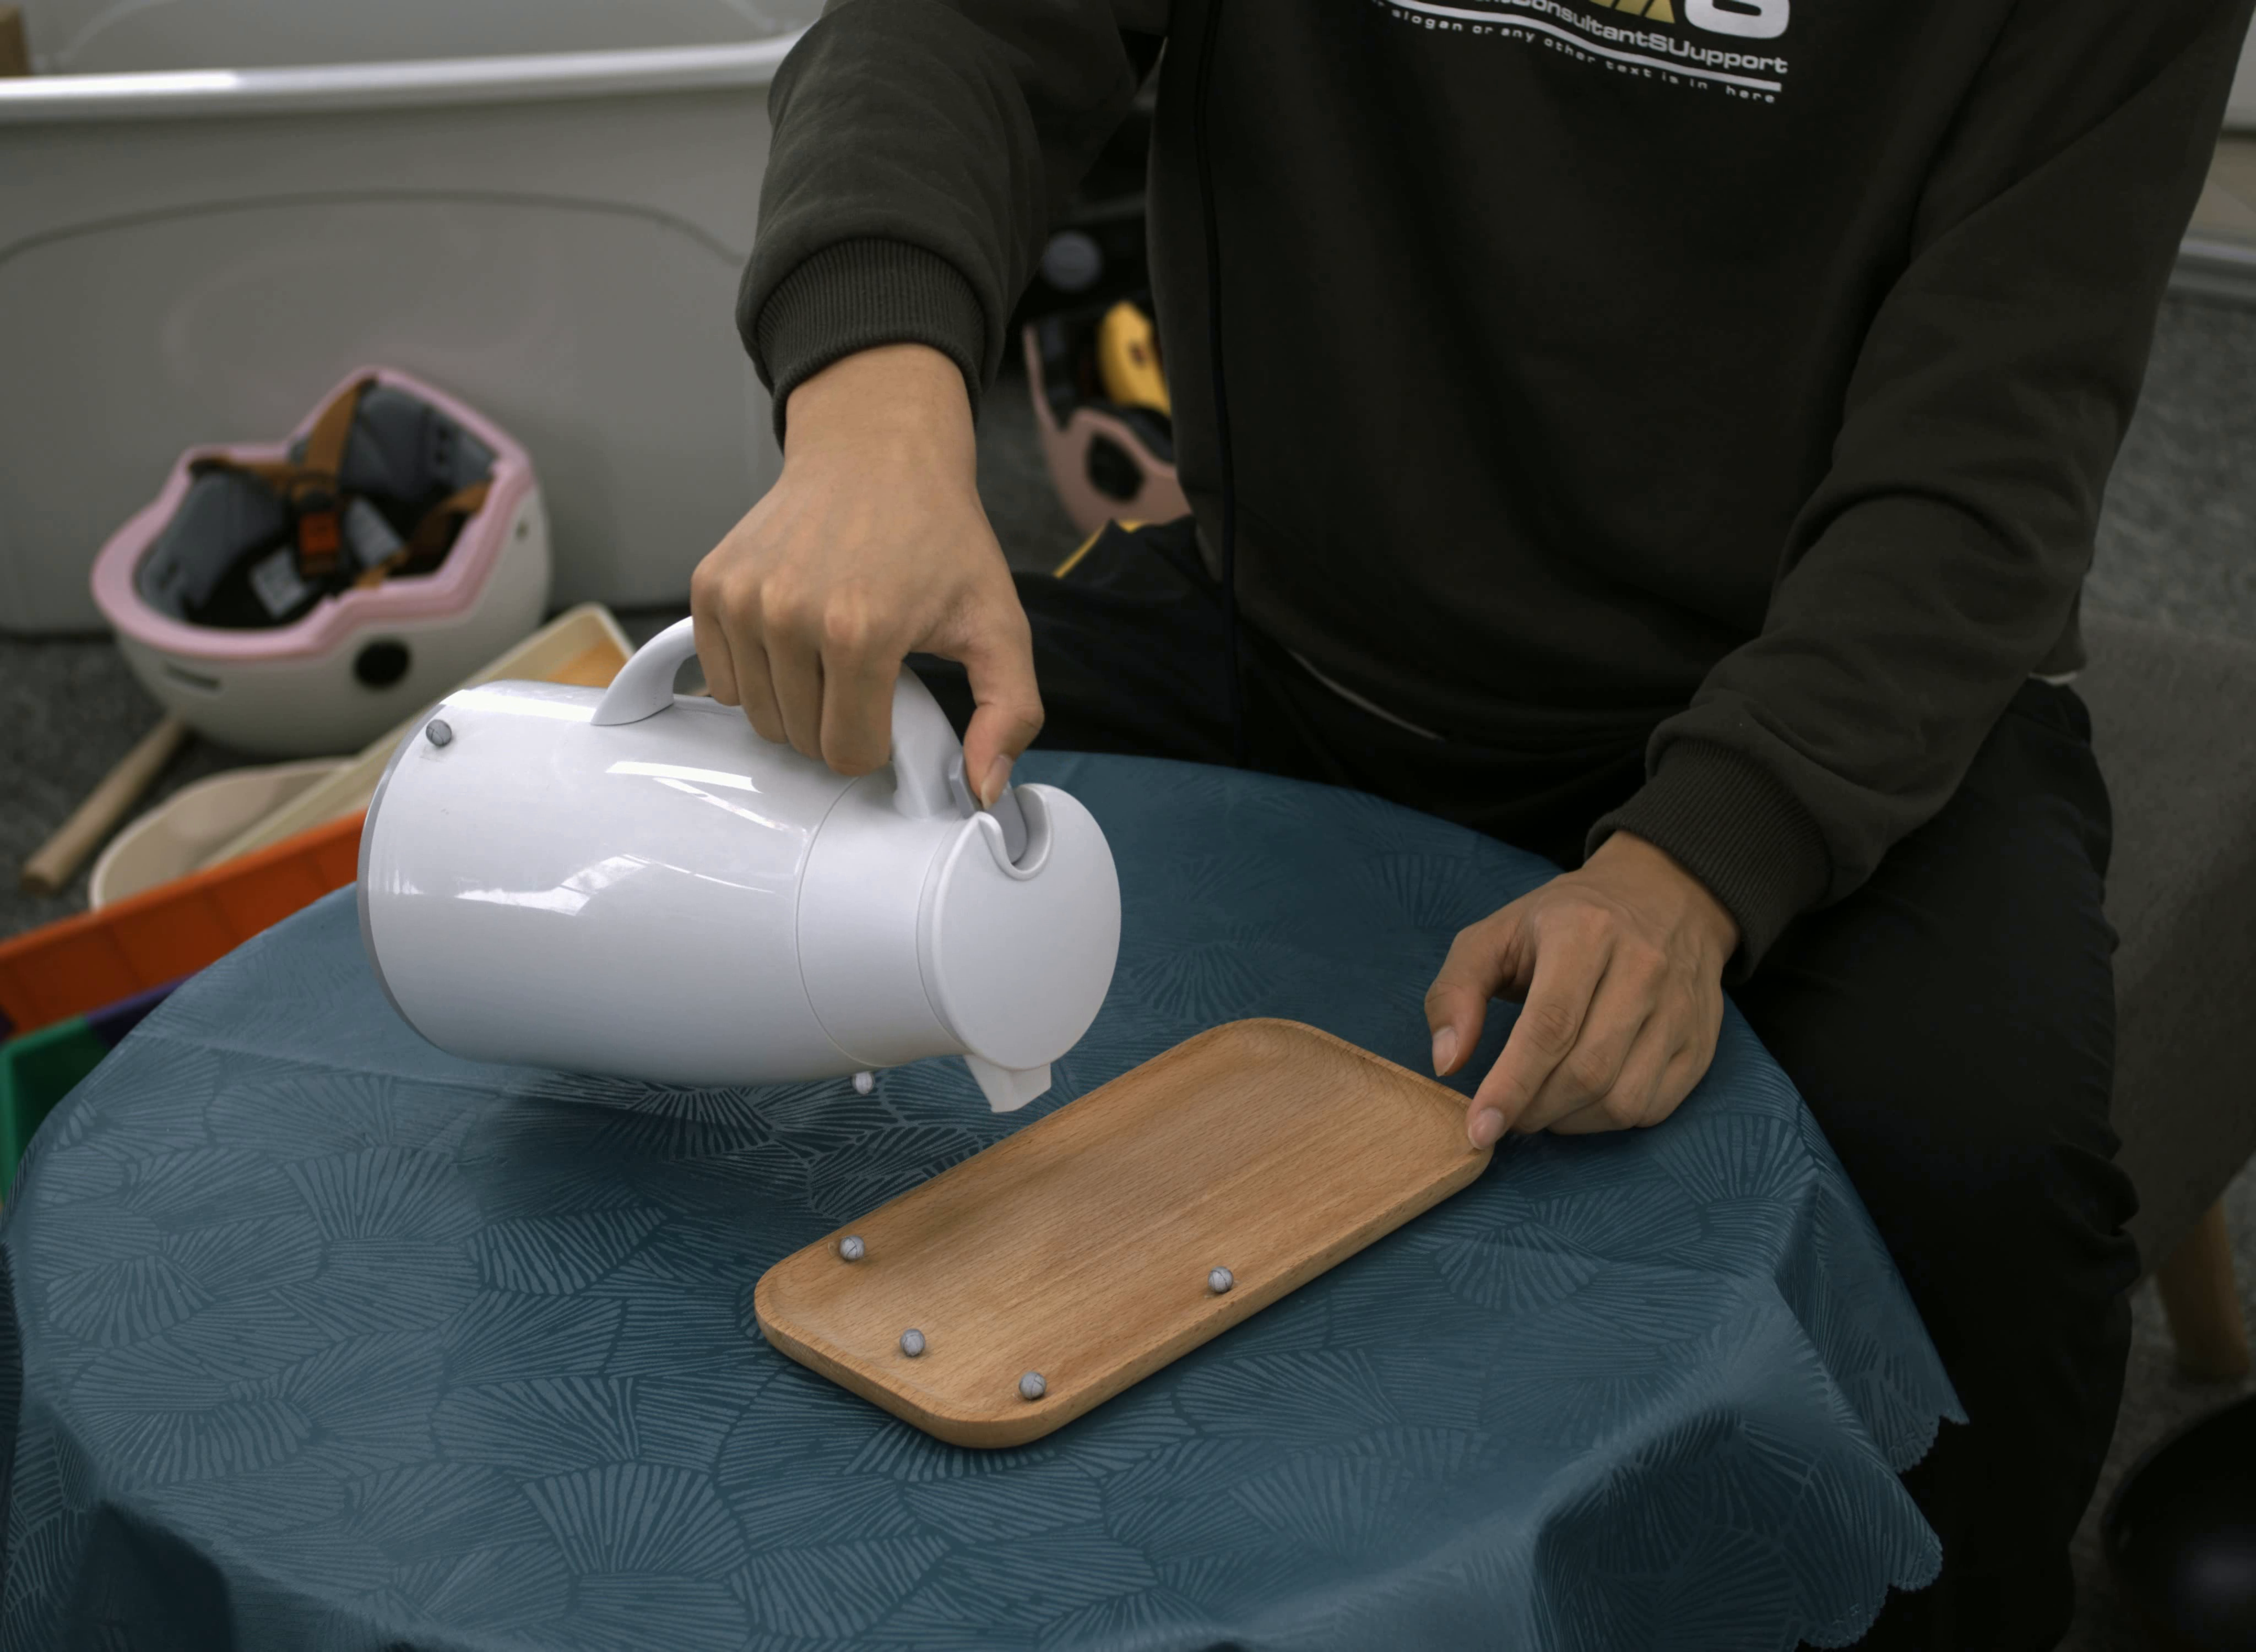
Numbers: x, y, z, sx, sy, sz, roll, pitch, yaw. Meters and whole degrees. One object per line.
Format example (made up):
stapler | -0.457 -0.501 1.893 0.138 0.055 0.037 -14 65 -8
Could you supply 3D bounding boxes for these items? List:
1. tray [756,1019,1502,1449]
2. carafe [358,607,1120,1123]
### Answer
tray | 0.003 0.131 1.830 0.253 0.022 0.130 -25 37 -38
carafe | -0.125 0.008 1.842 0.246 0.166 0.134 6 26 39
